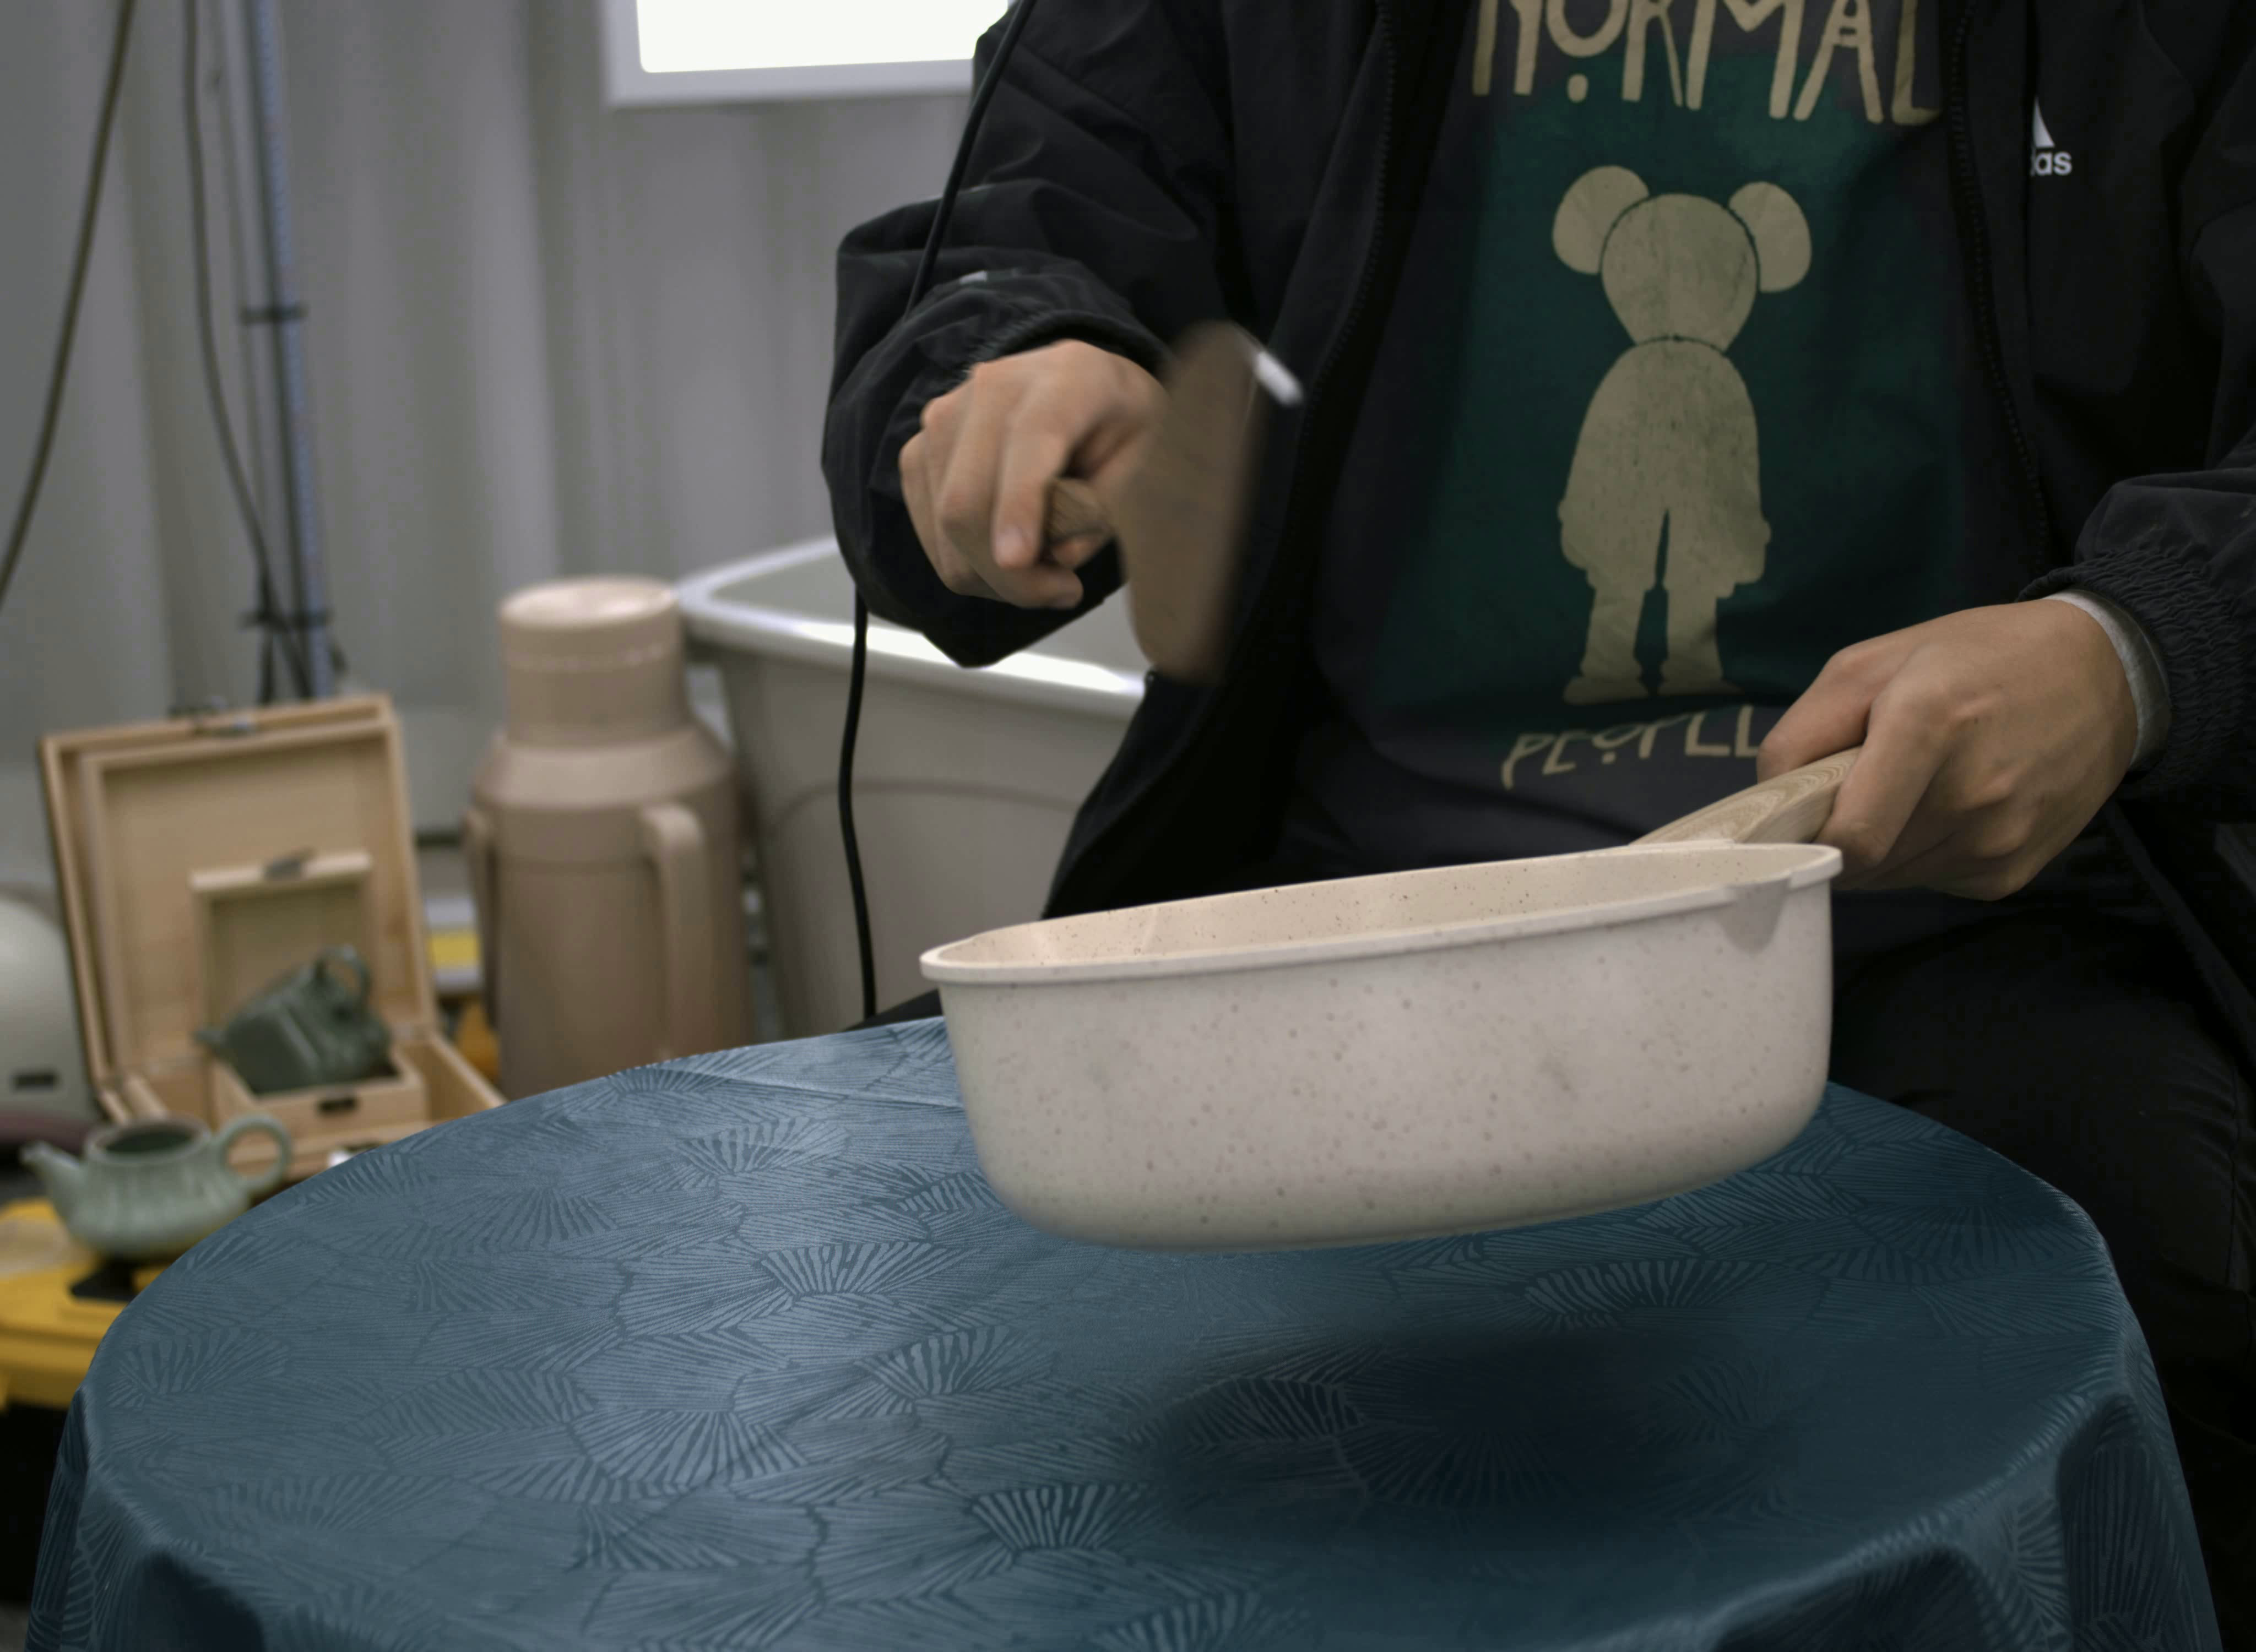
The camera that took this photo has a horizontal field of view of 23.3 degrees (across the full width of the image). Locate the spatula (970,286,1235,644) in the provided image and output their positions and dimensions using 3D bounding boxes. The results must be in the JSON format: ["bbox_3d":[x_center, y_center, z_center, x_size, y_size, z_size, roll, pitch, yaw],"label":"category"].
[{"bbox_3d":[-0.013,-0.100,1.623,0.016,0.096,0.386,6,0,-10],"label":"spatula"}]

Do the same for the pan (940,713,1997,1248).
[{"bbox_3d":[0.135,0.040,1.549,0.263,0.102,0.433,-7,2,40],"label":"pan"}]
